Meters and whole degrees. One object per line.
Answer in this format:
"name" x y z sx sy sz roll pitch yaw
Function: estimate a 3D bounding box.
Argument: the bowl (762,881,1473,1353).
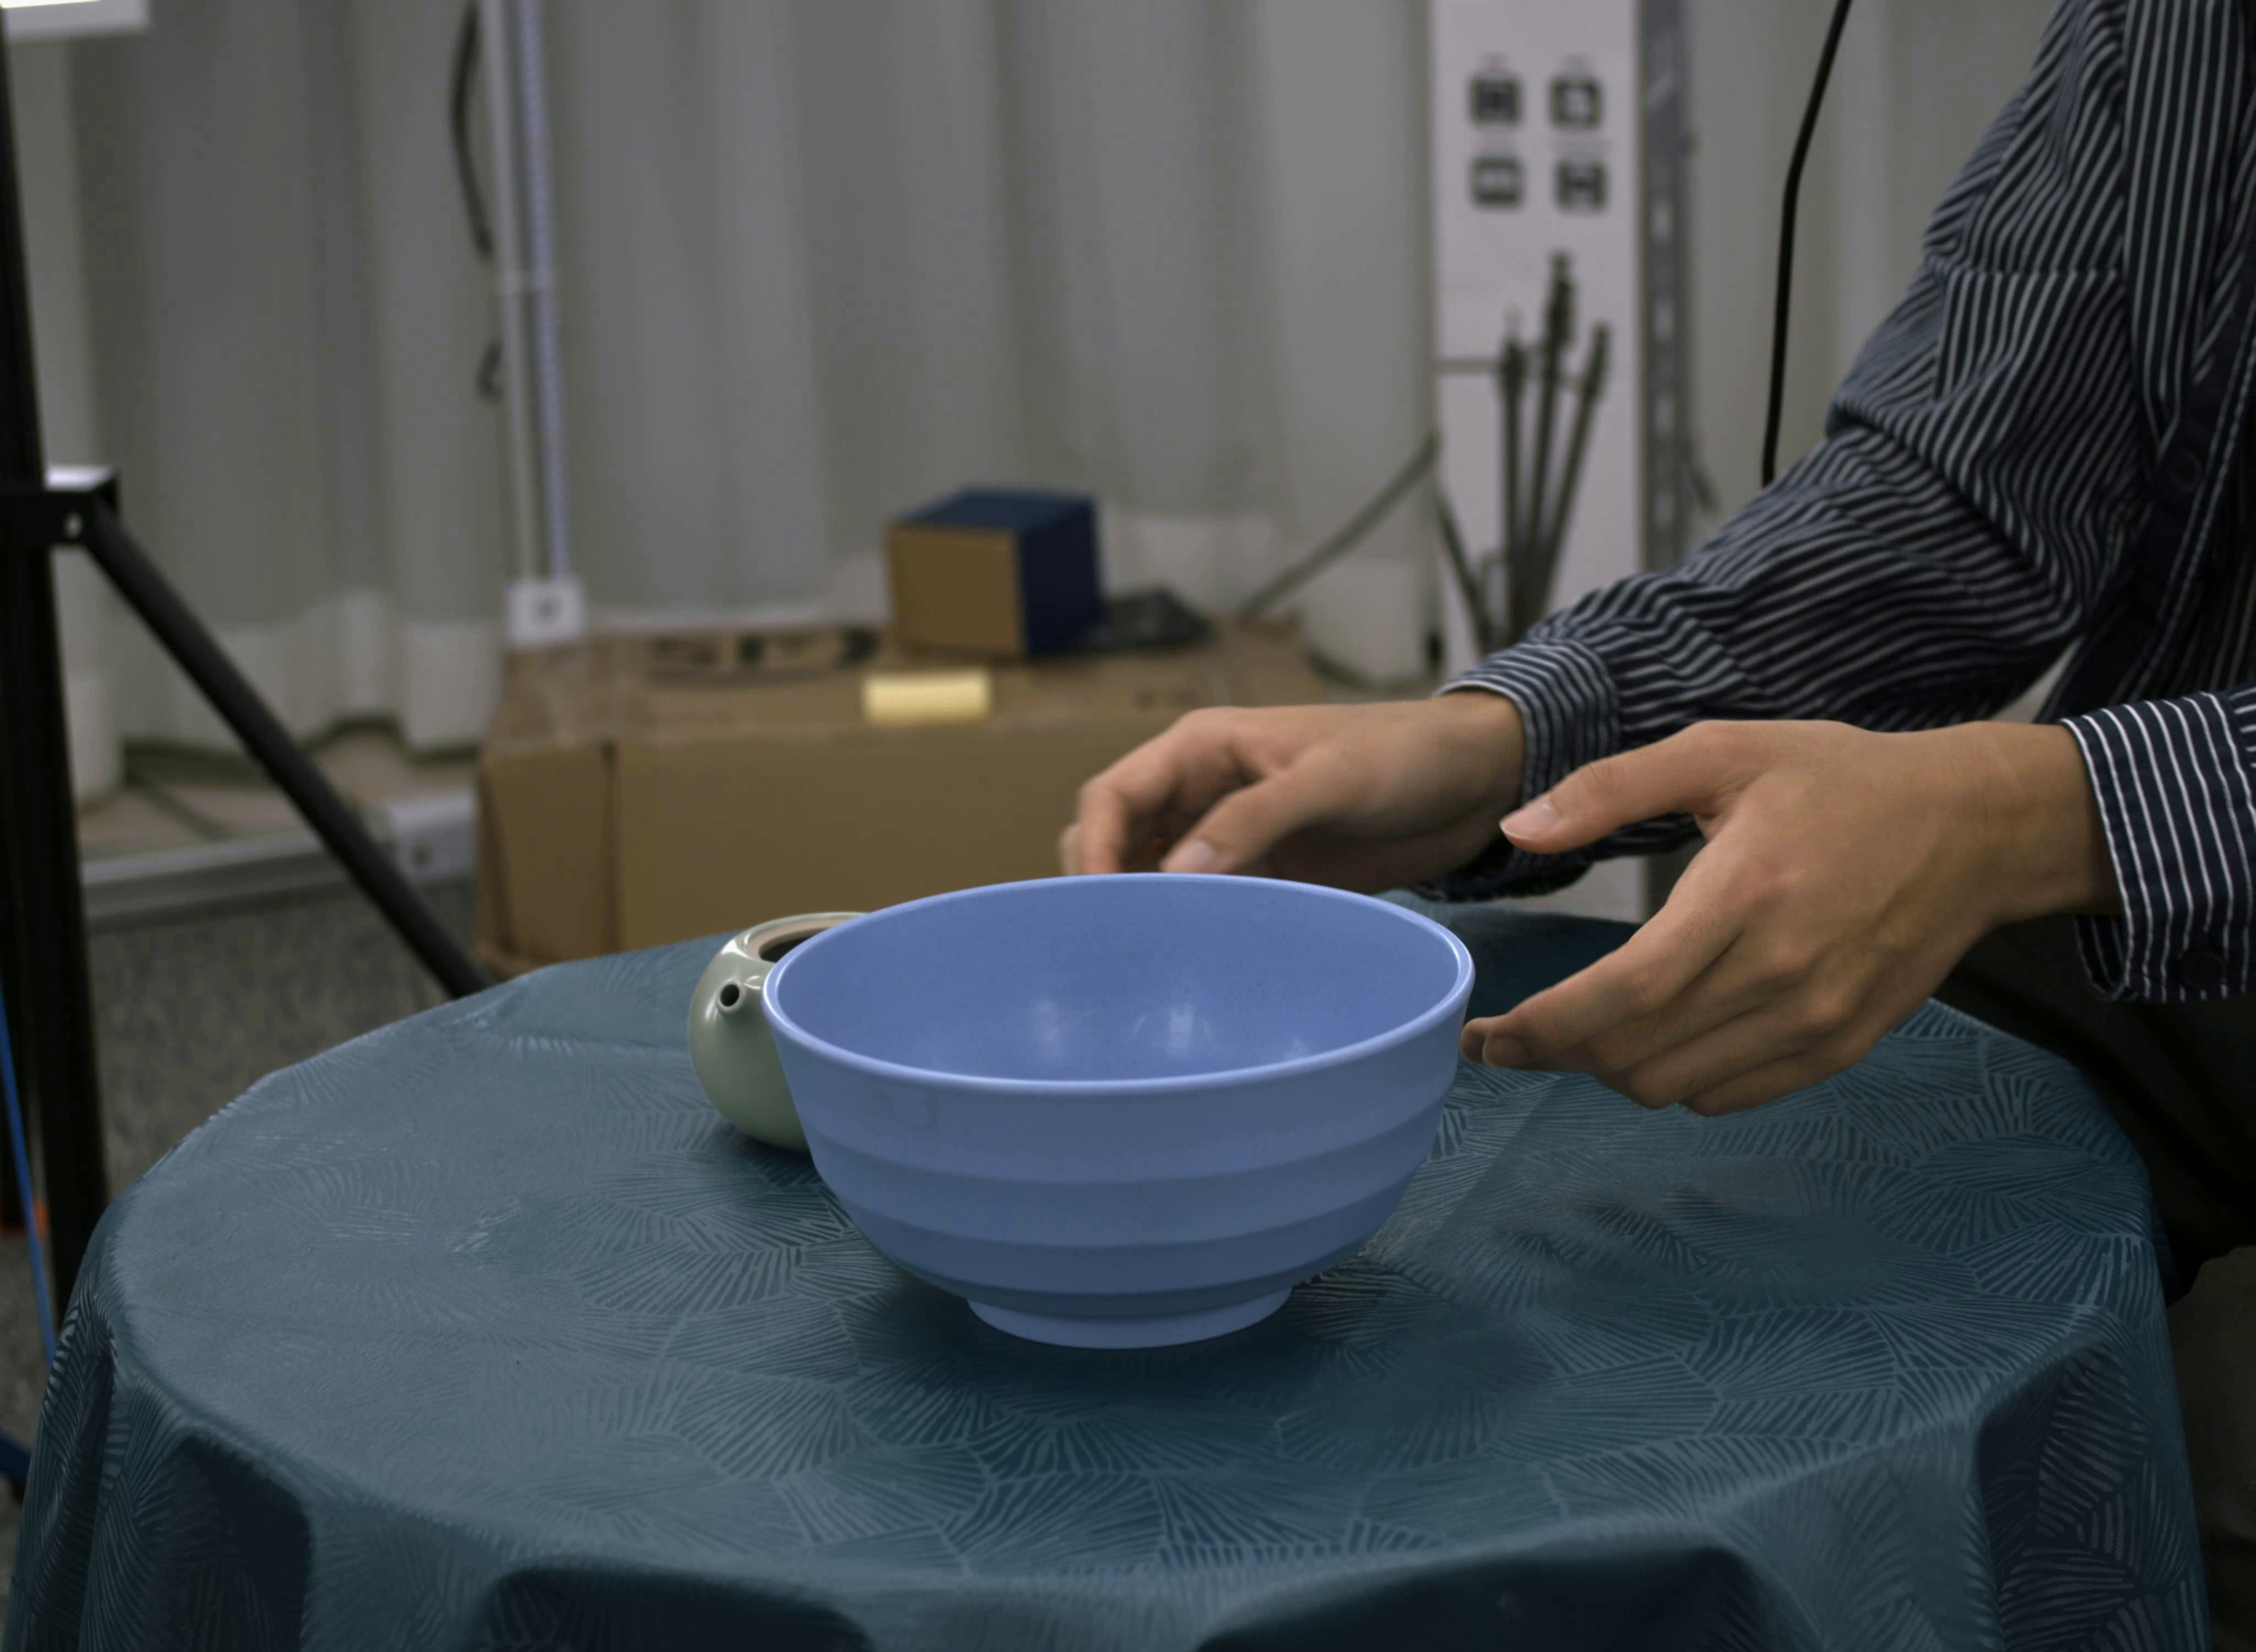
"bowl" -0.001 0.086 1.473 0.195 0.095 0.197 -3 15 -1

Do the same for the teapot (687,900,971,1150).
"teapot" -0.083 0.060 1.634 0.093 0.061 0.125 8 18 40
